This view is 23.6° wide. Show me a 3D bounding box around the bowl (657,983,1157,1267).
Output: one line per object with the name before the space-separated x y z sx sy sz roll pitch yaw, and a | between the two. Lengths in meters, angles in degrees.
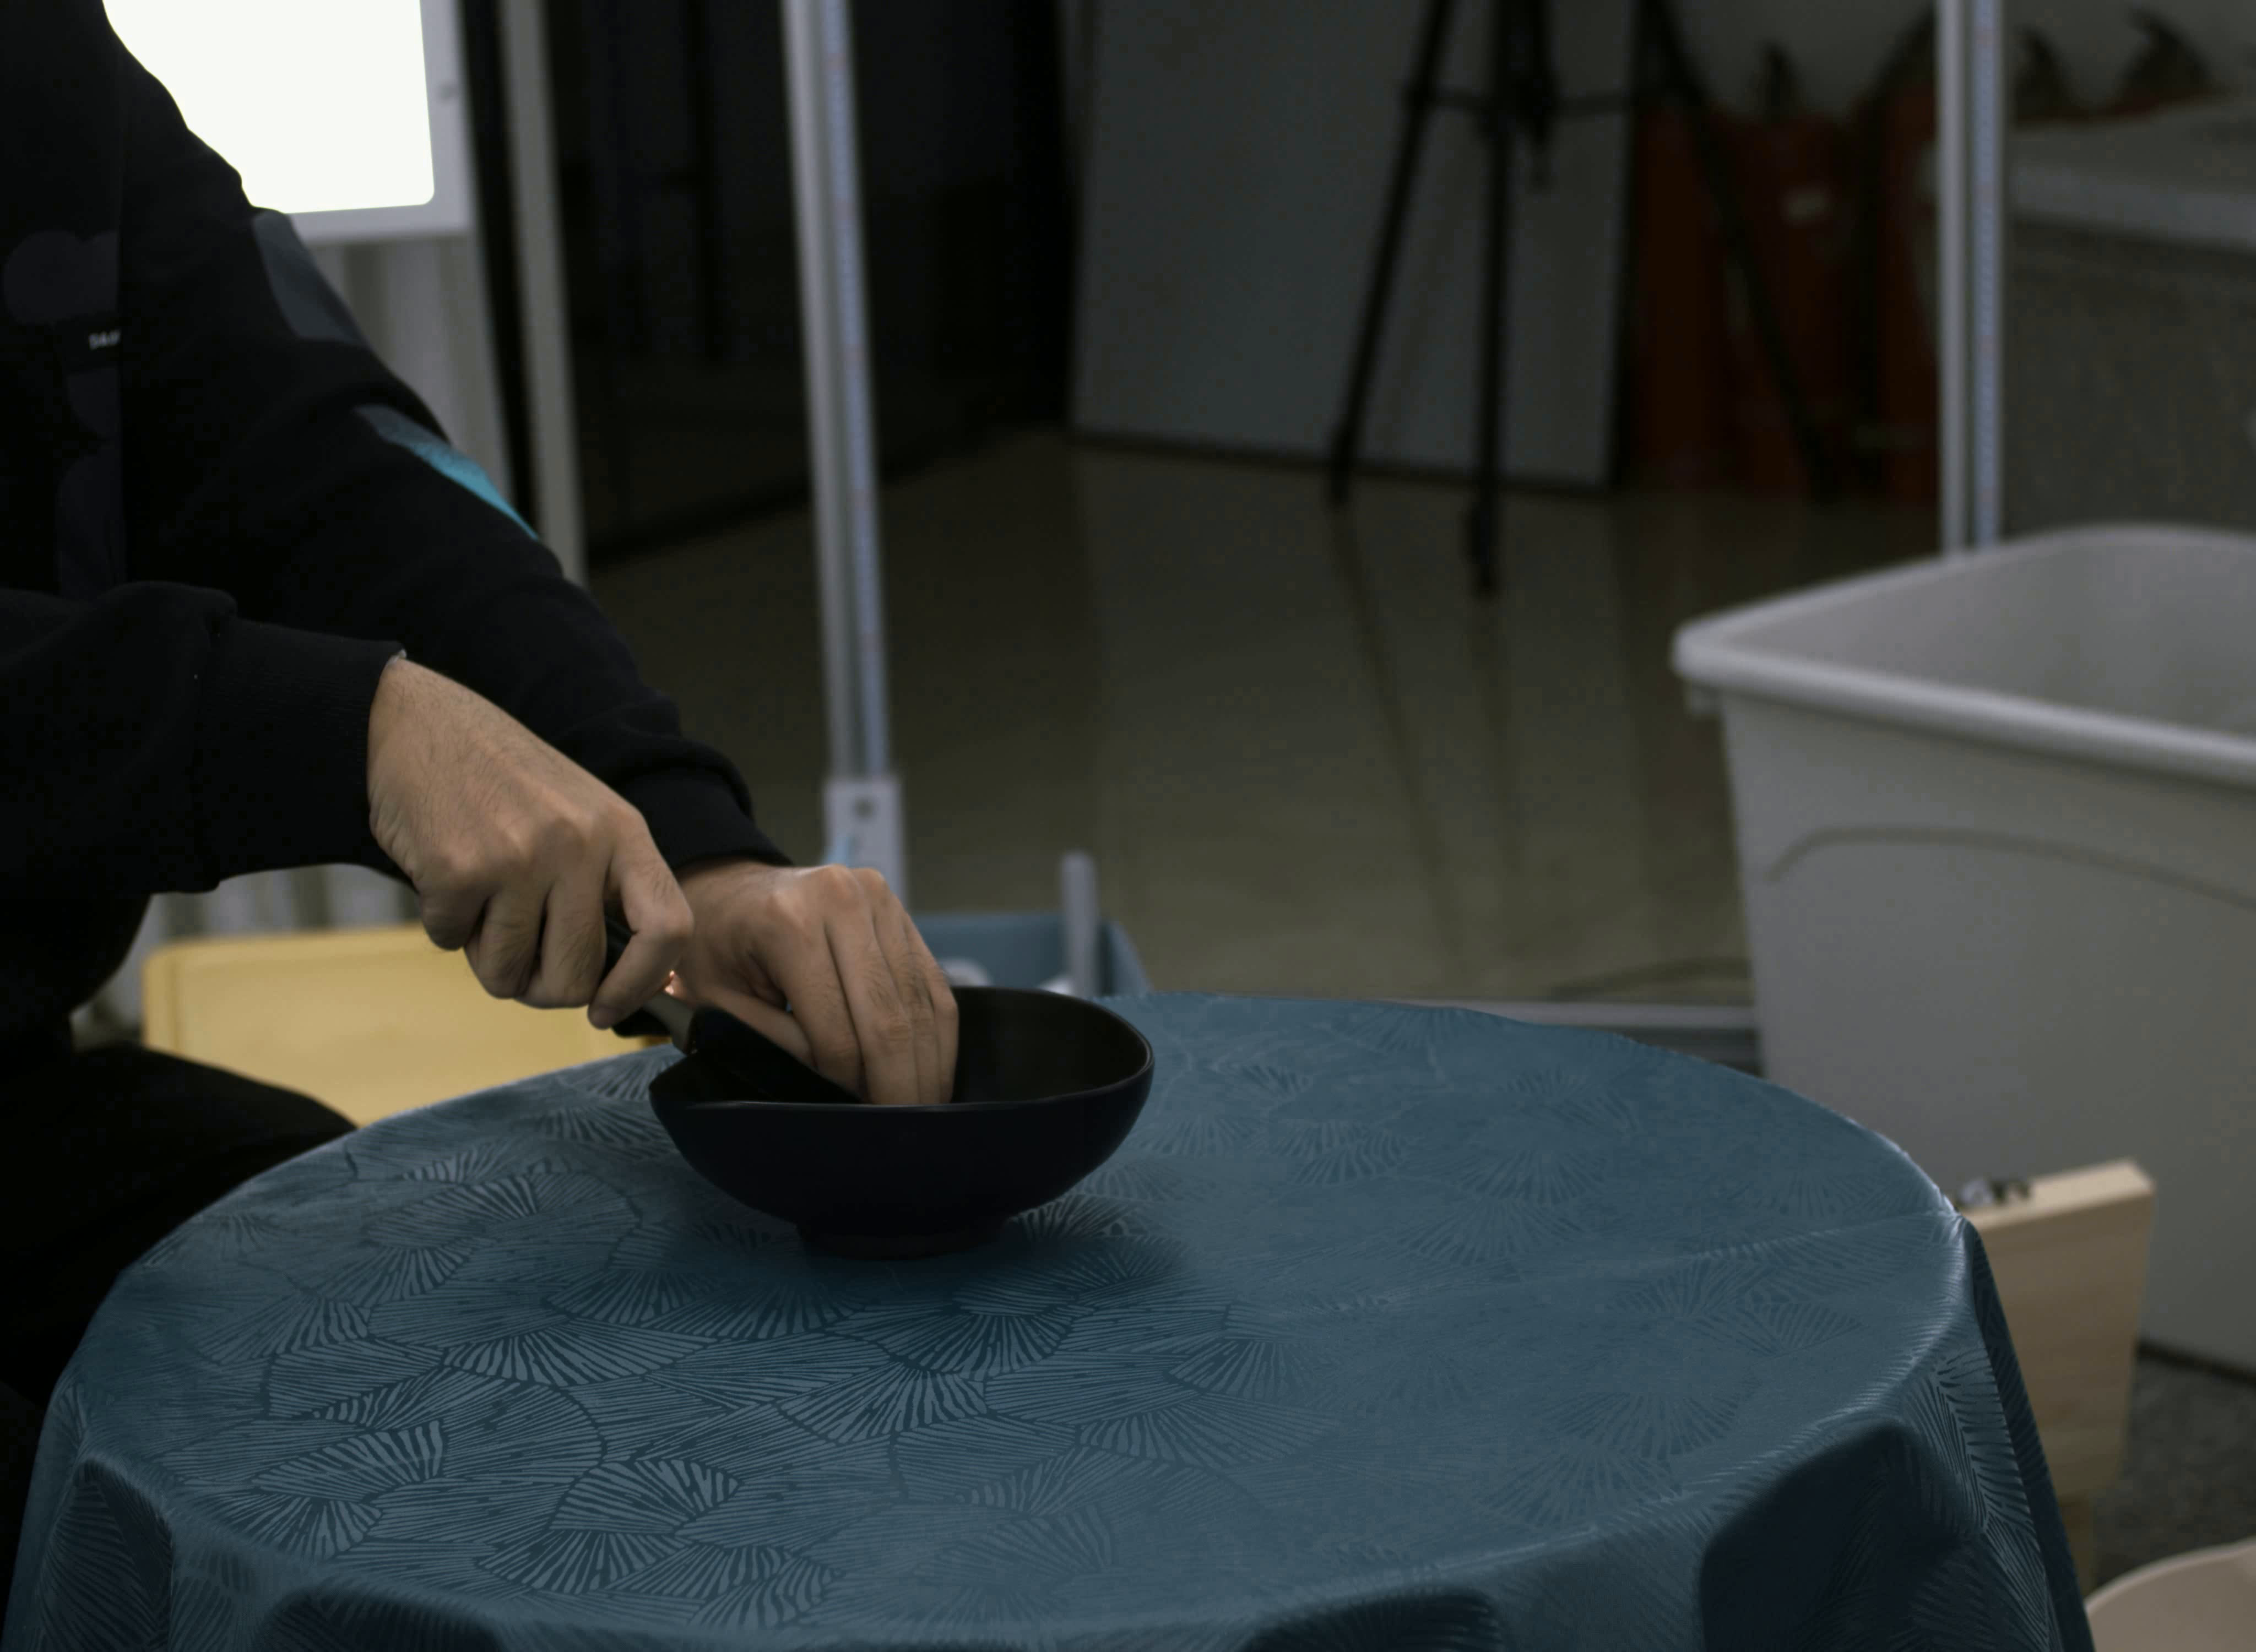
bowl | -0.071 0.101 1.738 0.170 0.067 0.136 -2 13 18

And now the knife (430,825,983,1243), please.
knife | -0.135 0.066 1.739 0.226 0.026 0.017 34 42 14
